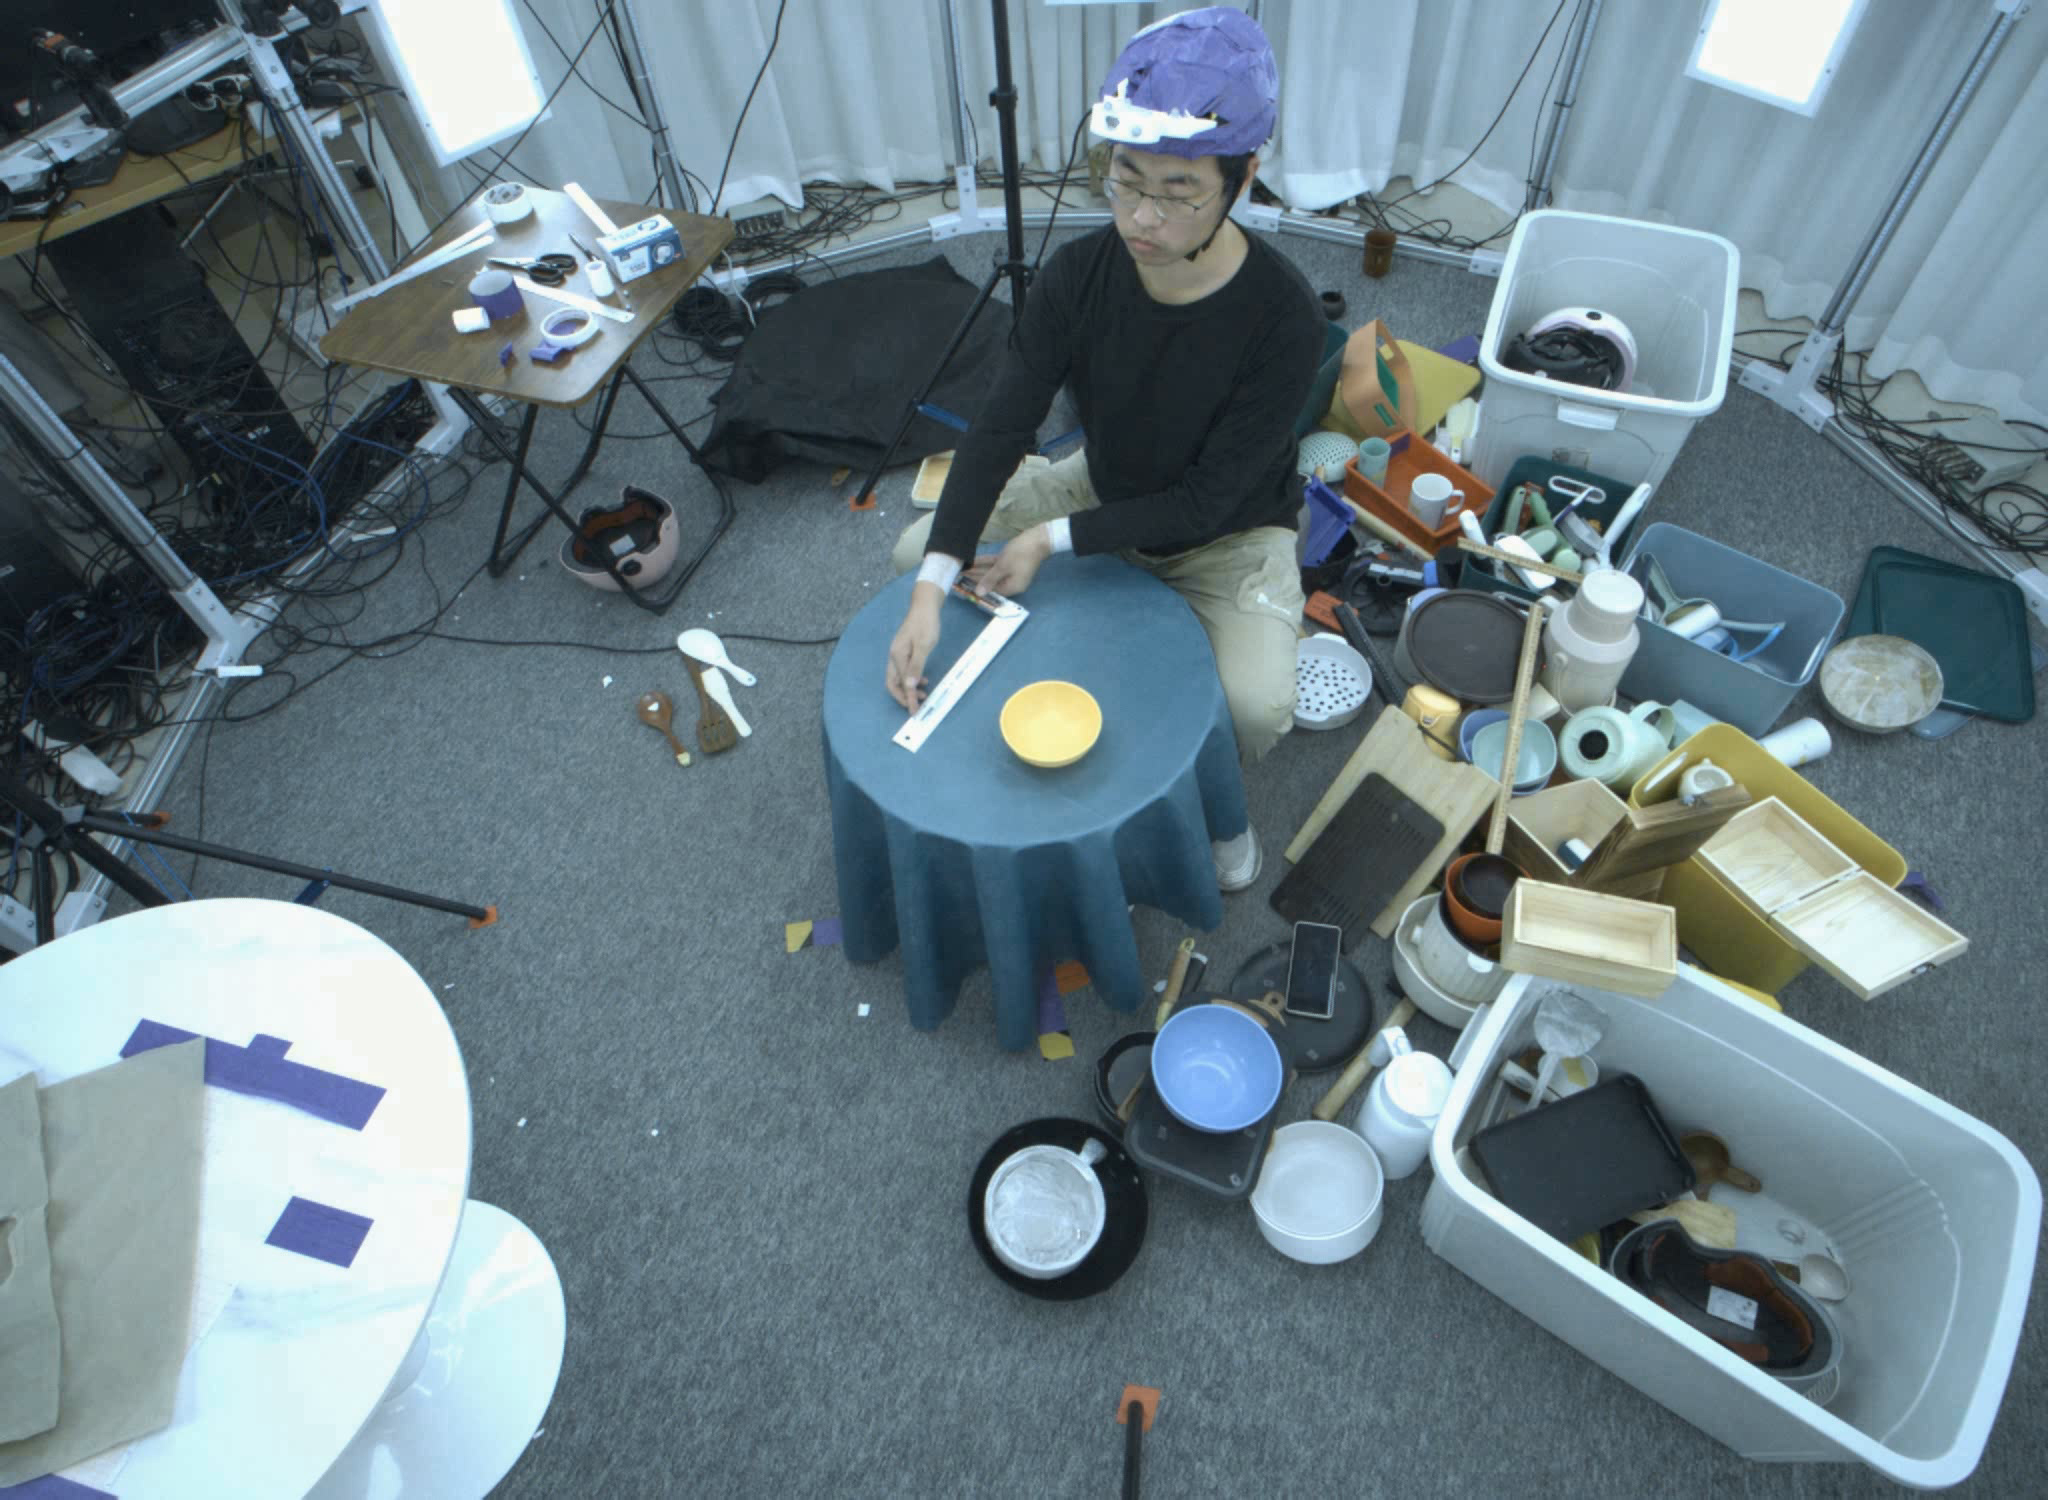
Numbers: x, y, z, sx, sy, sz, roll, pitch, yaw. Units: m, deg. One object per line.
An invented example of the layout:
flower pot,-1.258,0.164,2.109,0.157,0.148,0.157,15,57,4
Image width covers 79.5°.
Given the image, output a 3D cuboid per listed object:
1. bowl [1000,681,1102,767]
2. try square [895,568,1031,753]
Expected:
bowl,0.039,-0.026,1.771,0.145,0.060,0.144,1,55,-1
try square,-0.135,-0.143,1.876,0.150,0.016,0.314,30,63,14
